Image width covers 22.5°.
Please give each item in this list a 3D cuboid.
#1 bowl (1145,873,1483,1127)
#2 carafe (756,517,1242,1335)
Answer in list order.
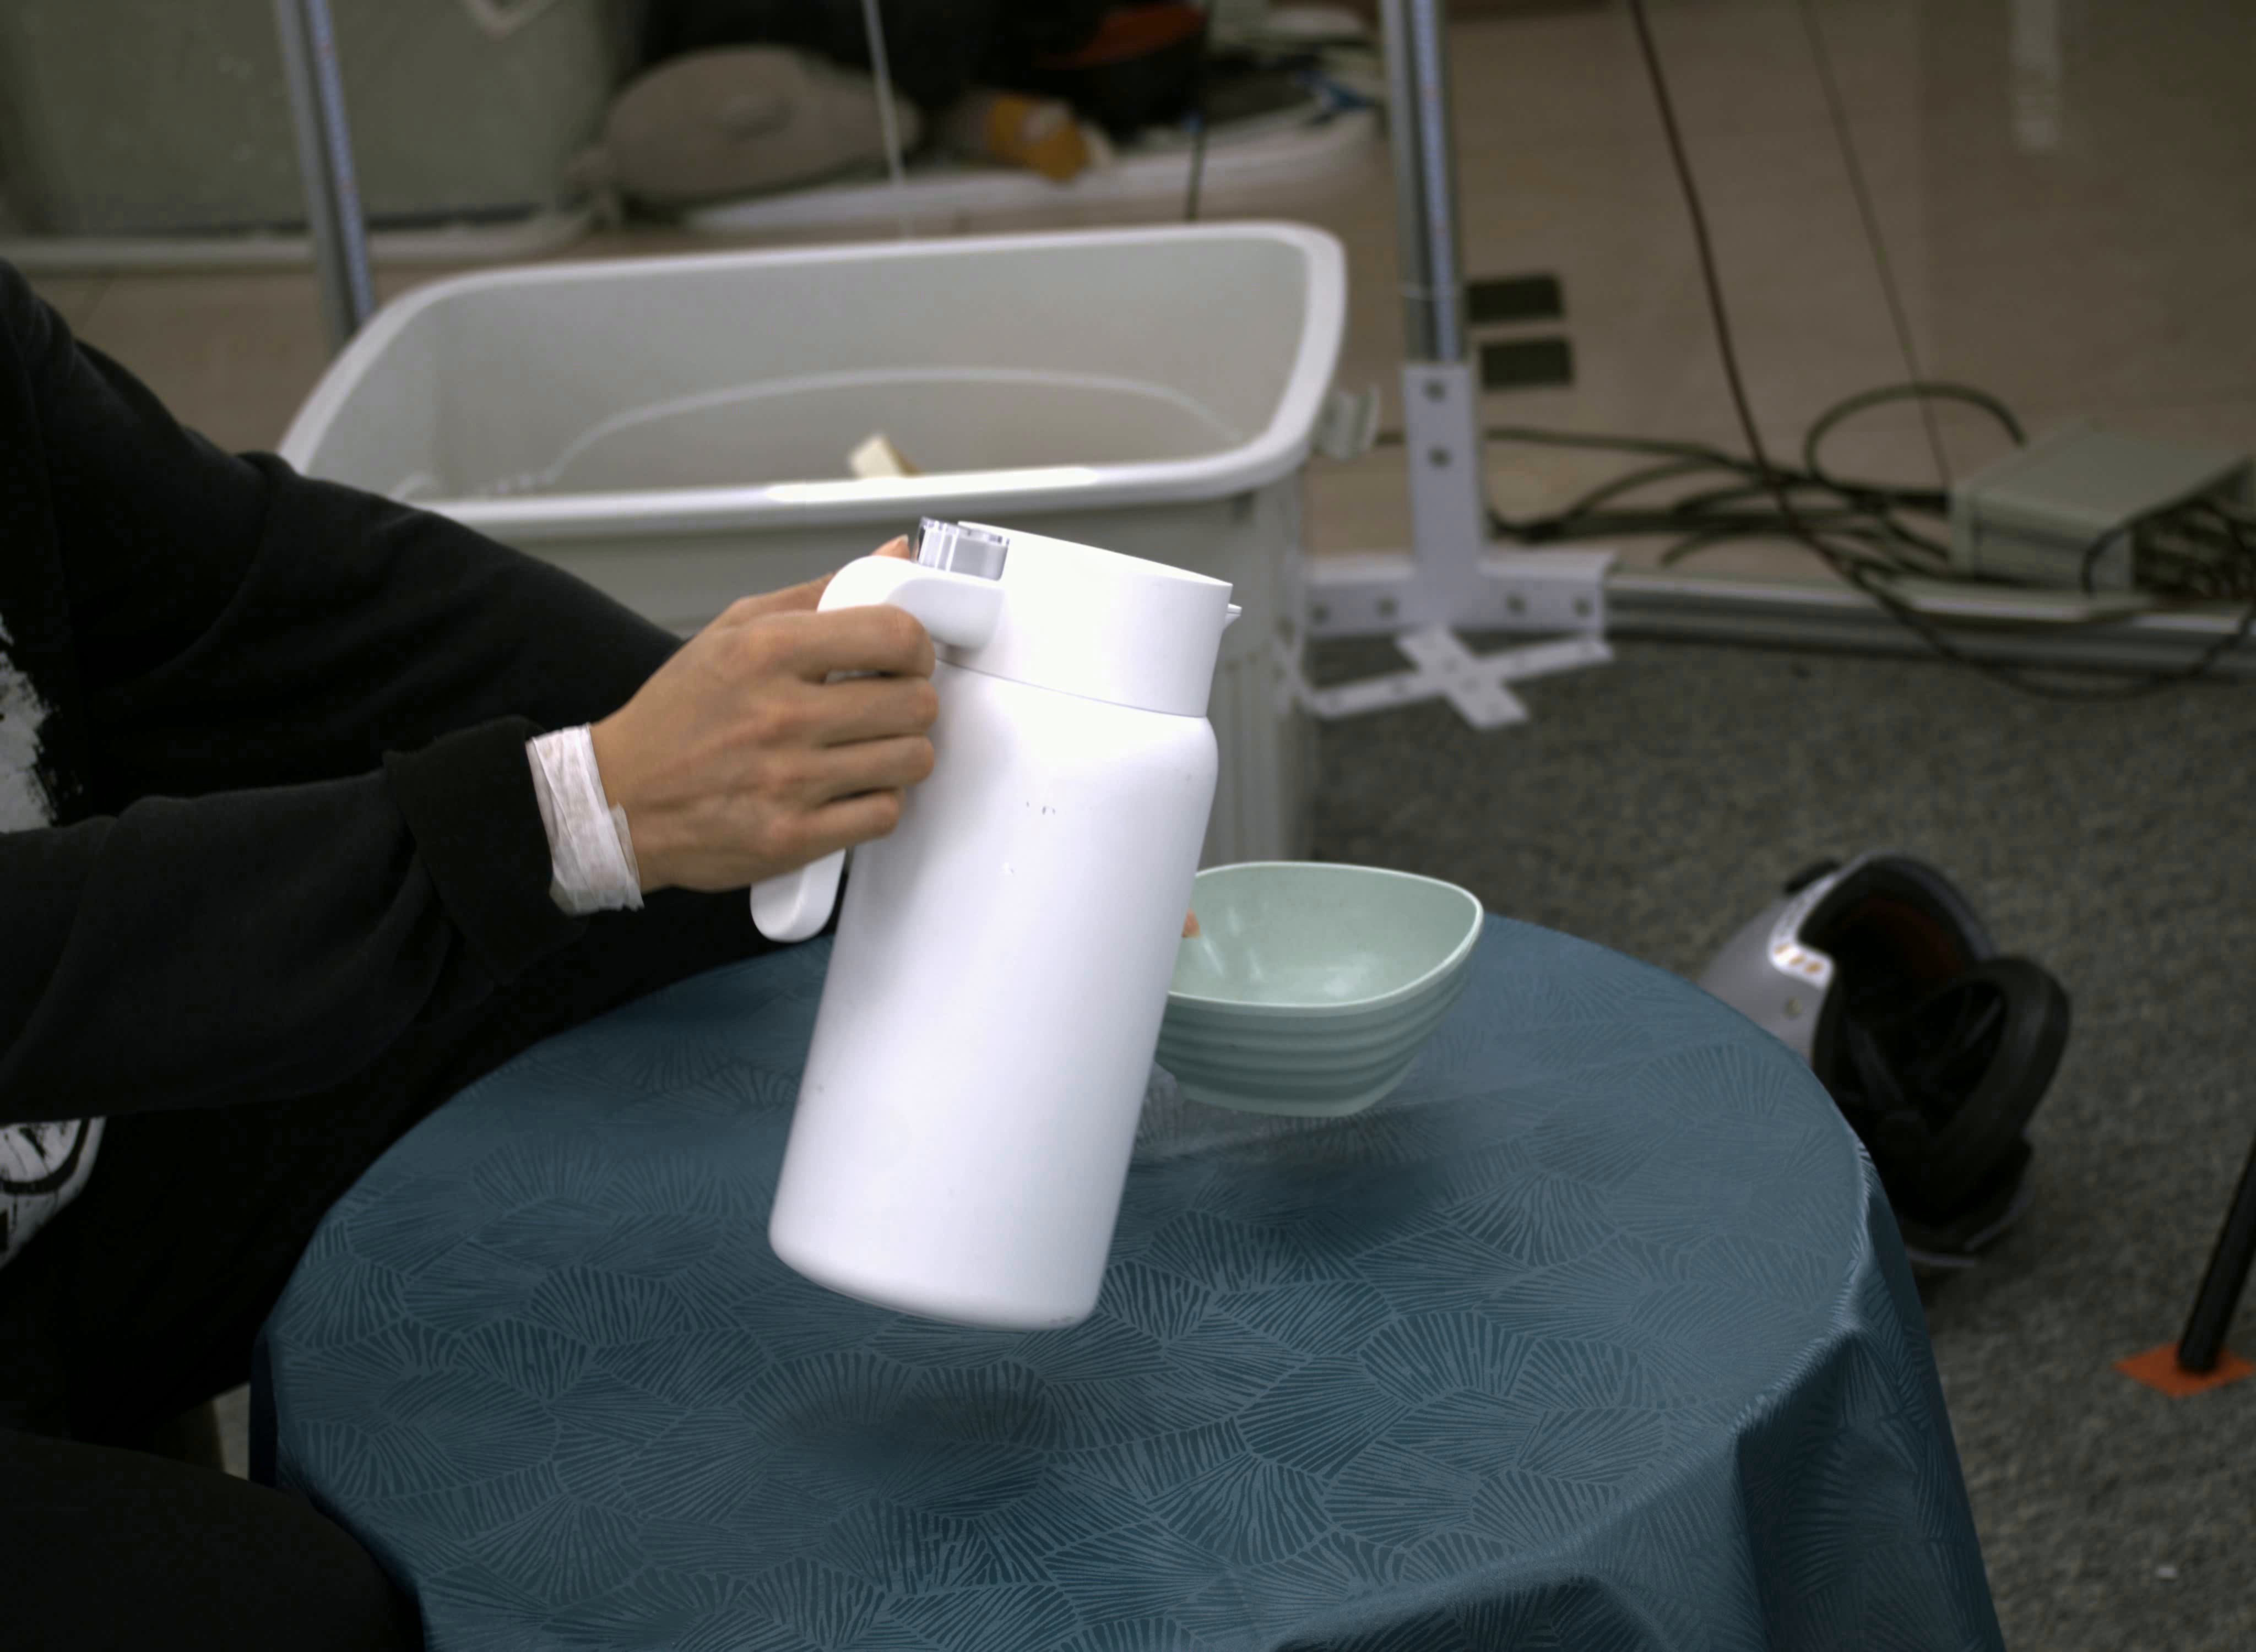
[{"bbox_3d":[0.063,0.070,2.147,0.151,0.059,0.149,-3,21,1],"label":"bowl"},{"bbox_3d":[-0.051,0.034,1.948,0.173,0.270,0.123,7,11,-42],"label":"carafe"}]
